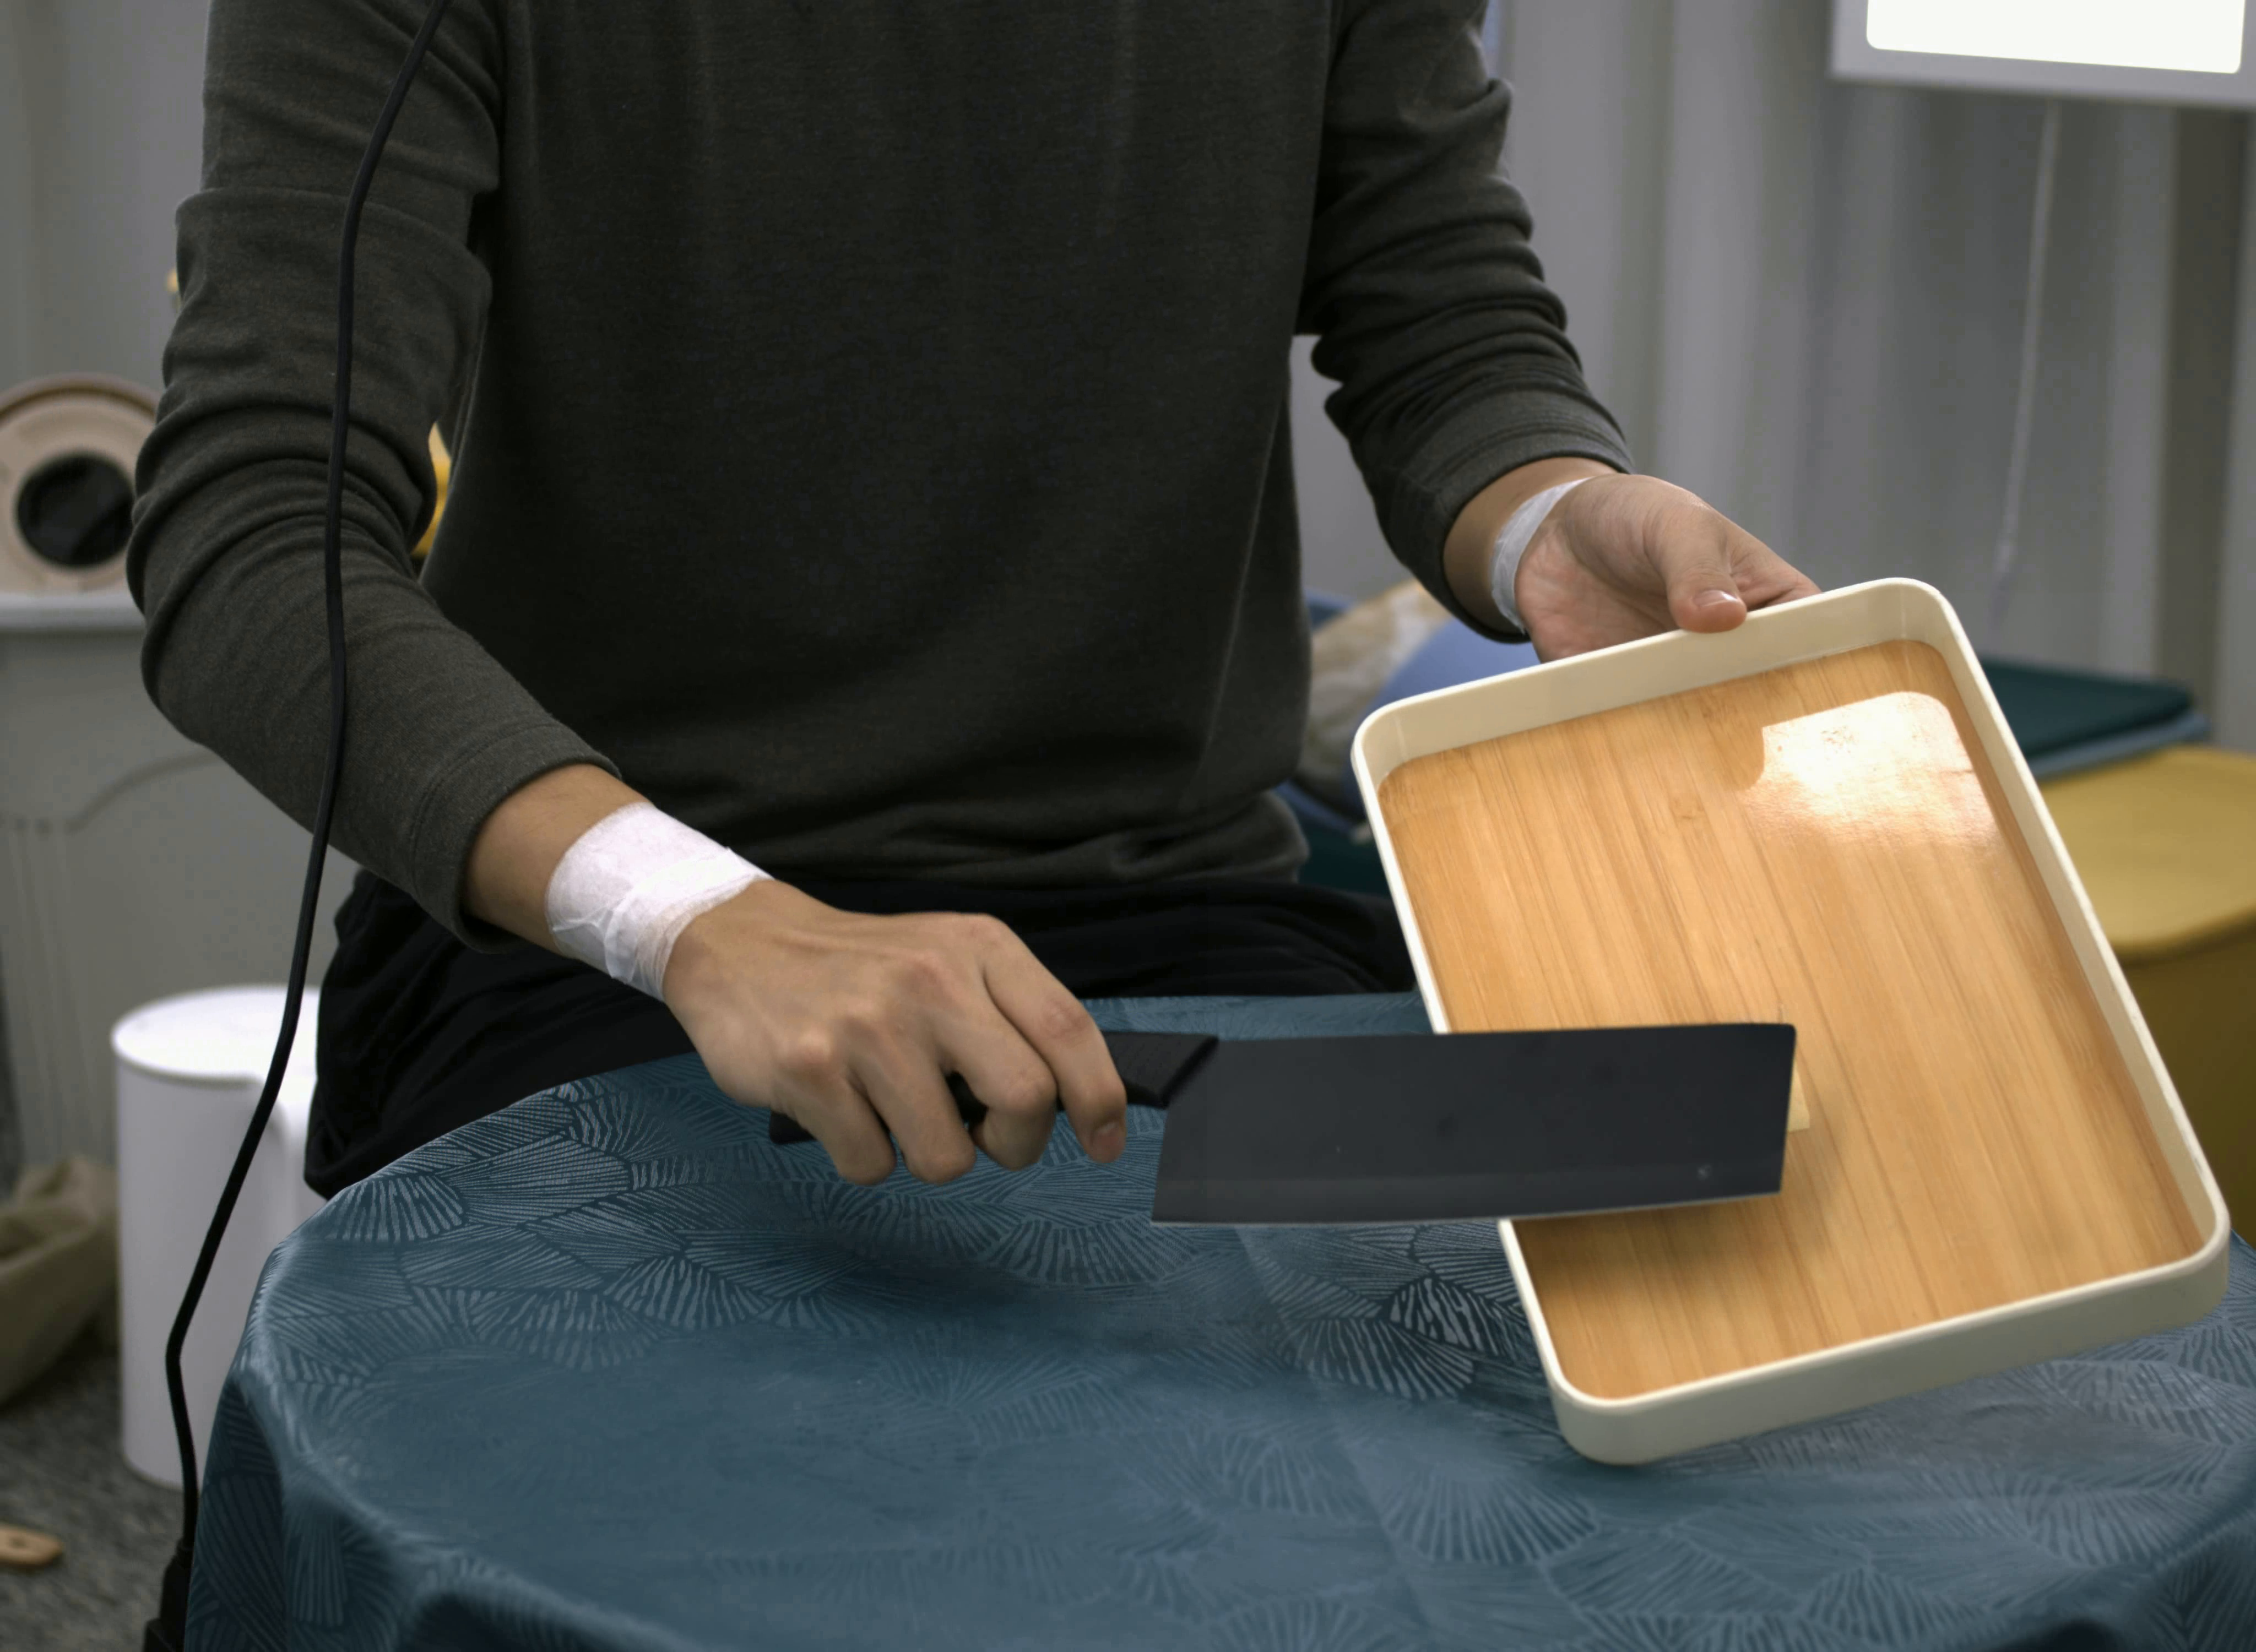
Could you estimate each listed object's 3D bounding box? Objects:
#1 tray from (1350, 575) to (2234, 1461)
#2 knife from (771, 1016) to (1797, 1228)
[{"bbox_3d":[0.184,0.047,1.515,0.191,0.028,0.297,-14,42,-1],"label":"tray"},{"bbox_3d":[0.041,0.083,1.494,0.300,0.021,0.080,0,49,18],"label":"knife"}]
